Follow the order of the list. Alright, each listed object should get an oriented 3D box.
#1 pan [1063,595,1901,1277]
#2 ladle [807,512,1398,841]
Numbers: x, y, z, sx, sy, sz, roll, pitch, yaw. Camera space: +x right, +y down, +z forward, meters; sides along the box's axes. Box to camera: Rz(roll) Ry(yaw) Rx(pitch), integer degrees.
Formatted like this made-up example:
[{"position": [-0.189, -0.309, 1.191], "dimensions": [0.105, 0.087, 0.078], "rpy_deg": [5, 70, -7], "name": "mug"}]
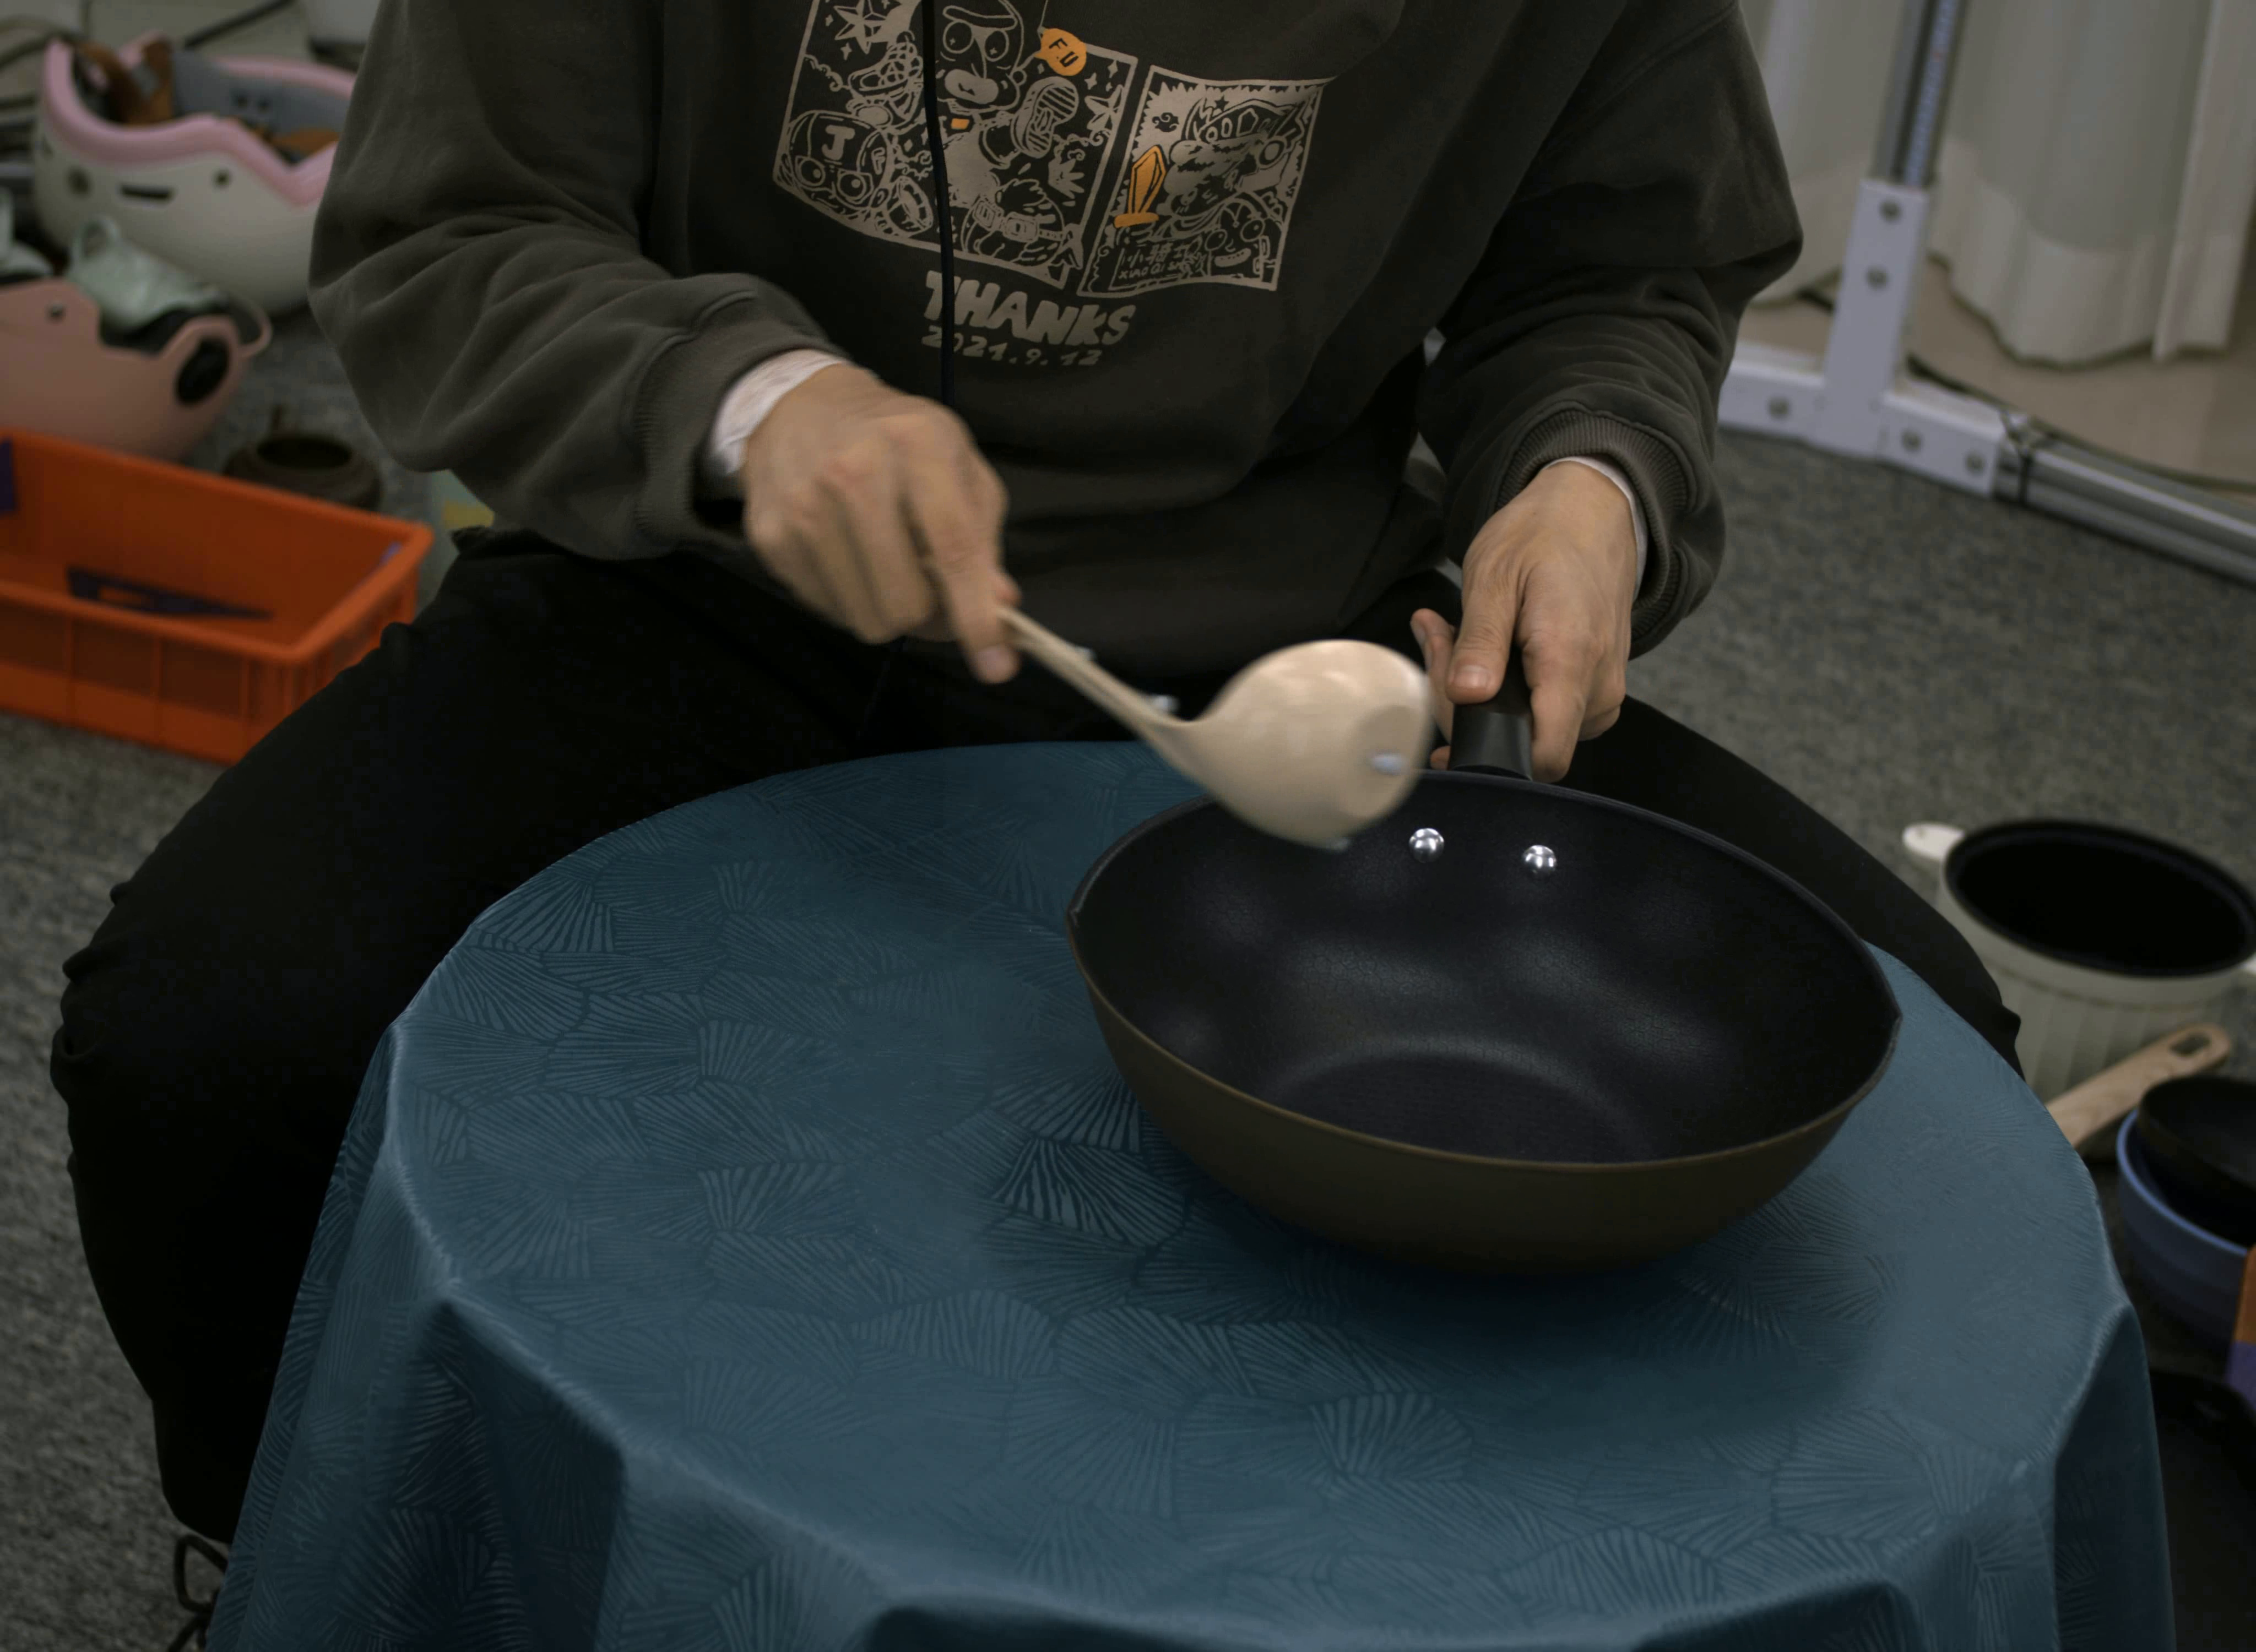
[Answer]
[{"position": [0.124, 0.039, 1.908], "dimensions": [0.287, 0.086, 0.465], "rpy_deg": [7, 26, 2], "name": "pan"}, {"position": [-0.009, -0.072, 1.793], "dimensions": [0.073, 0.071, 0.256], "rpy_deg": [-37, 45, -18], "name": "ladle"}]
